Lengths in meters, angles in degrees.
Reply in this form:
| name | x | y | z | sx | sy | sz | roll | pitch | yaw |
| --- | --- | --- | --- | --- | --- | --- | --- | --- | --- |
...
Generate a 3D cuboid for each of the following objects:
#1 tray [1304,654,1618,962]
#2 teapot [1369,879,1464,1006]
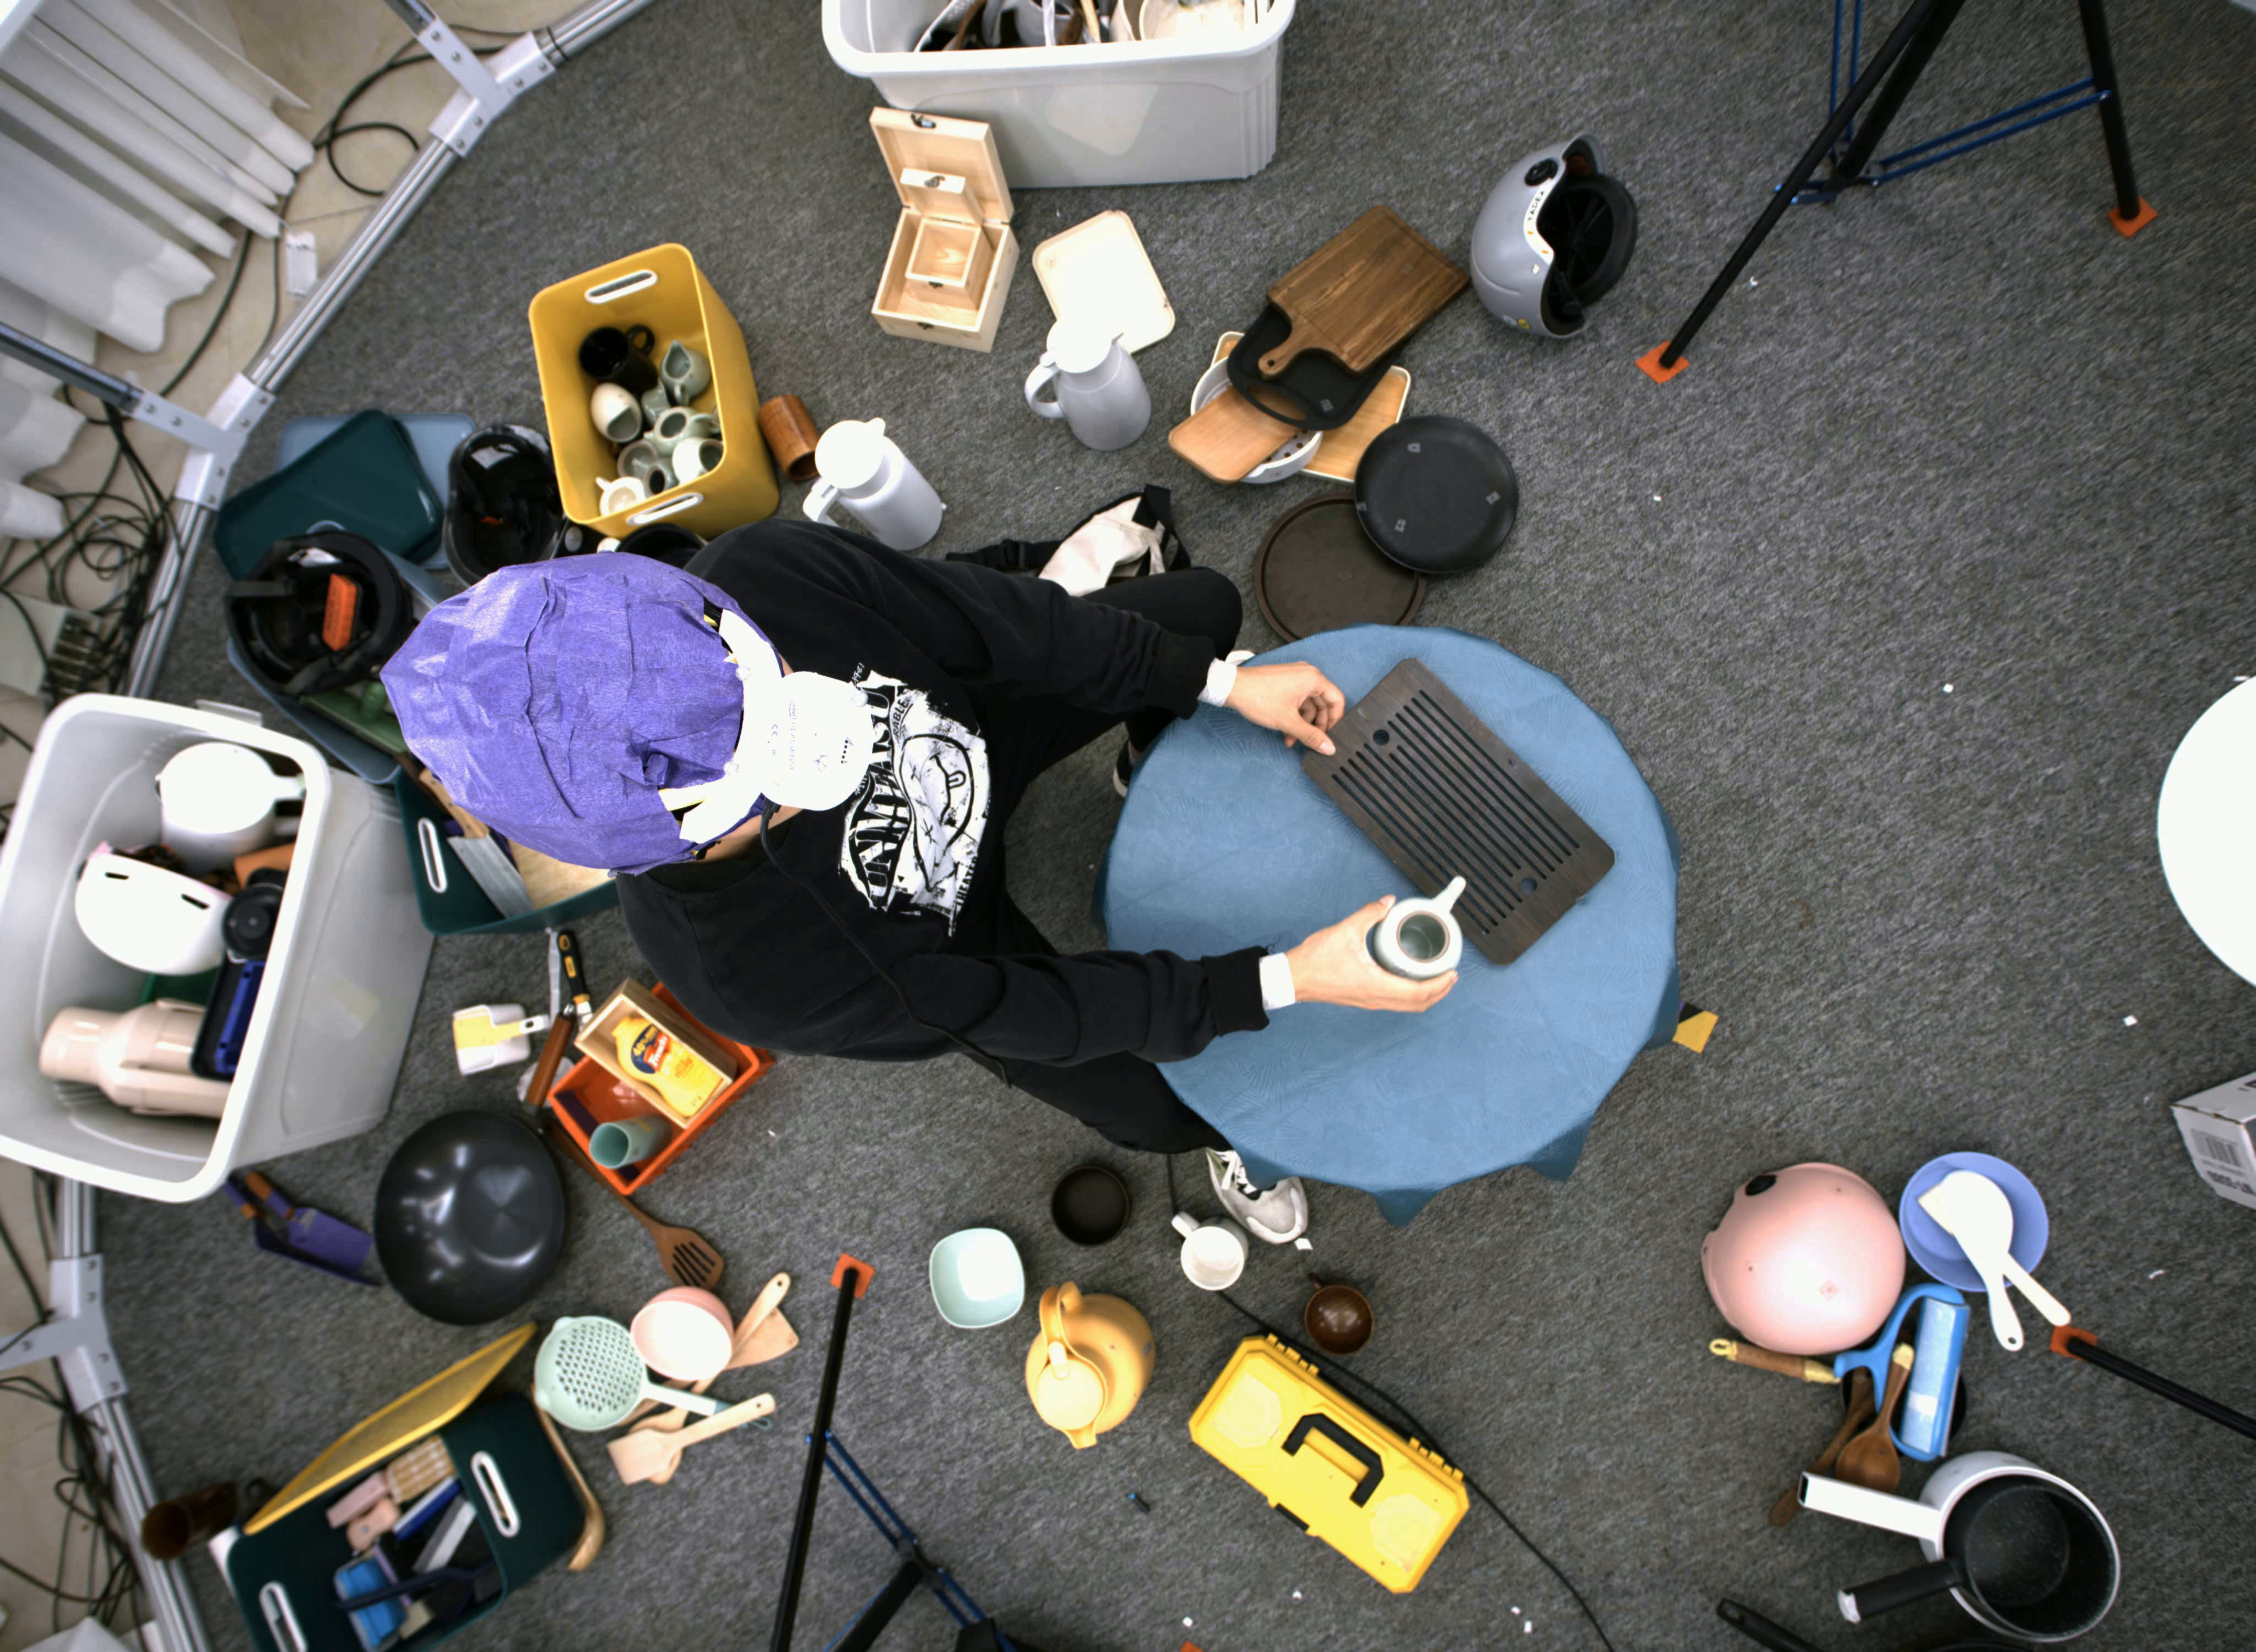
| name | x | y | z | sx | sy | sz | roll | pitch | yaw |
| --- | --- | --- | --- | --- | --- | --- | --- | --- | --- |
| tray | 0.345 | -0.022 | 1.436 | 0.171 | 0.018 | 0.305 | -44 | 83 | 6 |
| teapot | 0.279 | 0.115 | 1.341 | 0.088 | 0.076 | 0.142 | 37 | 77 | 9 |
